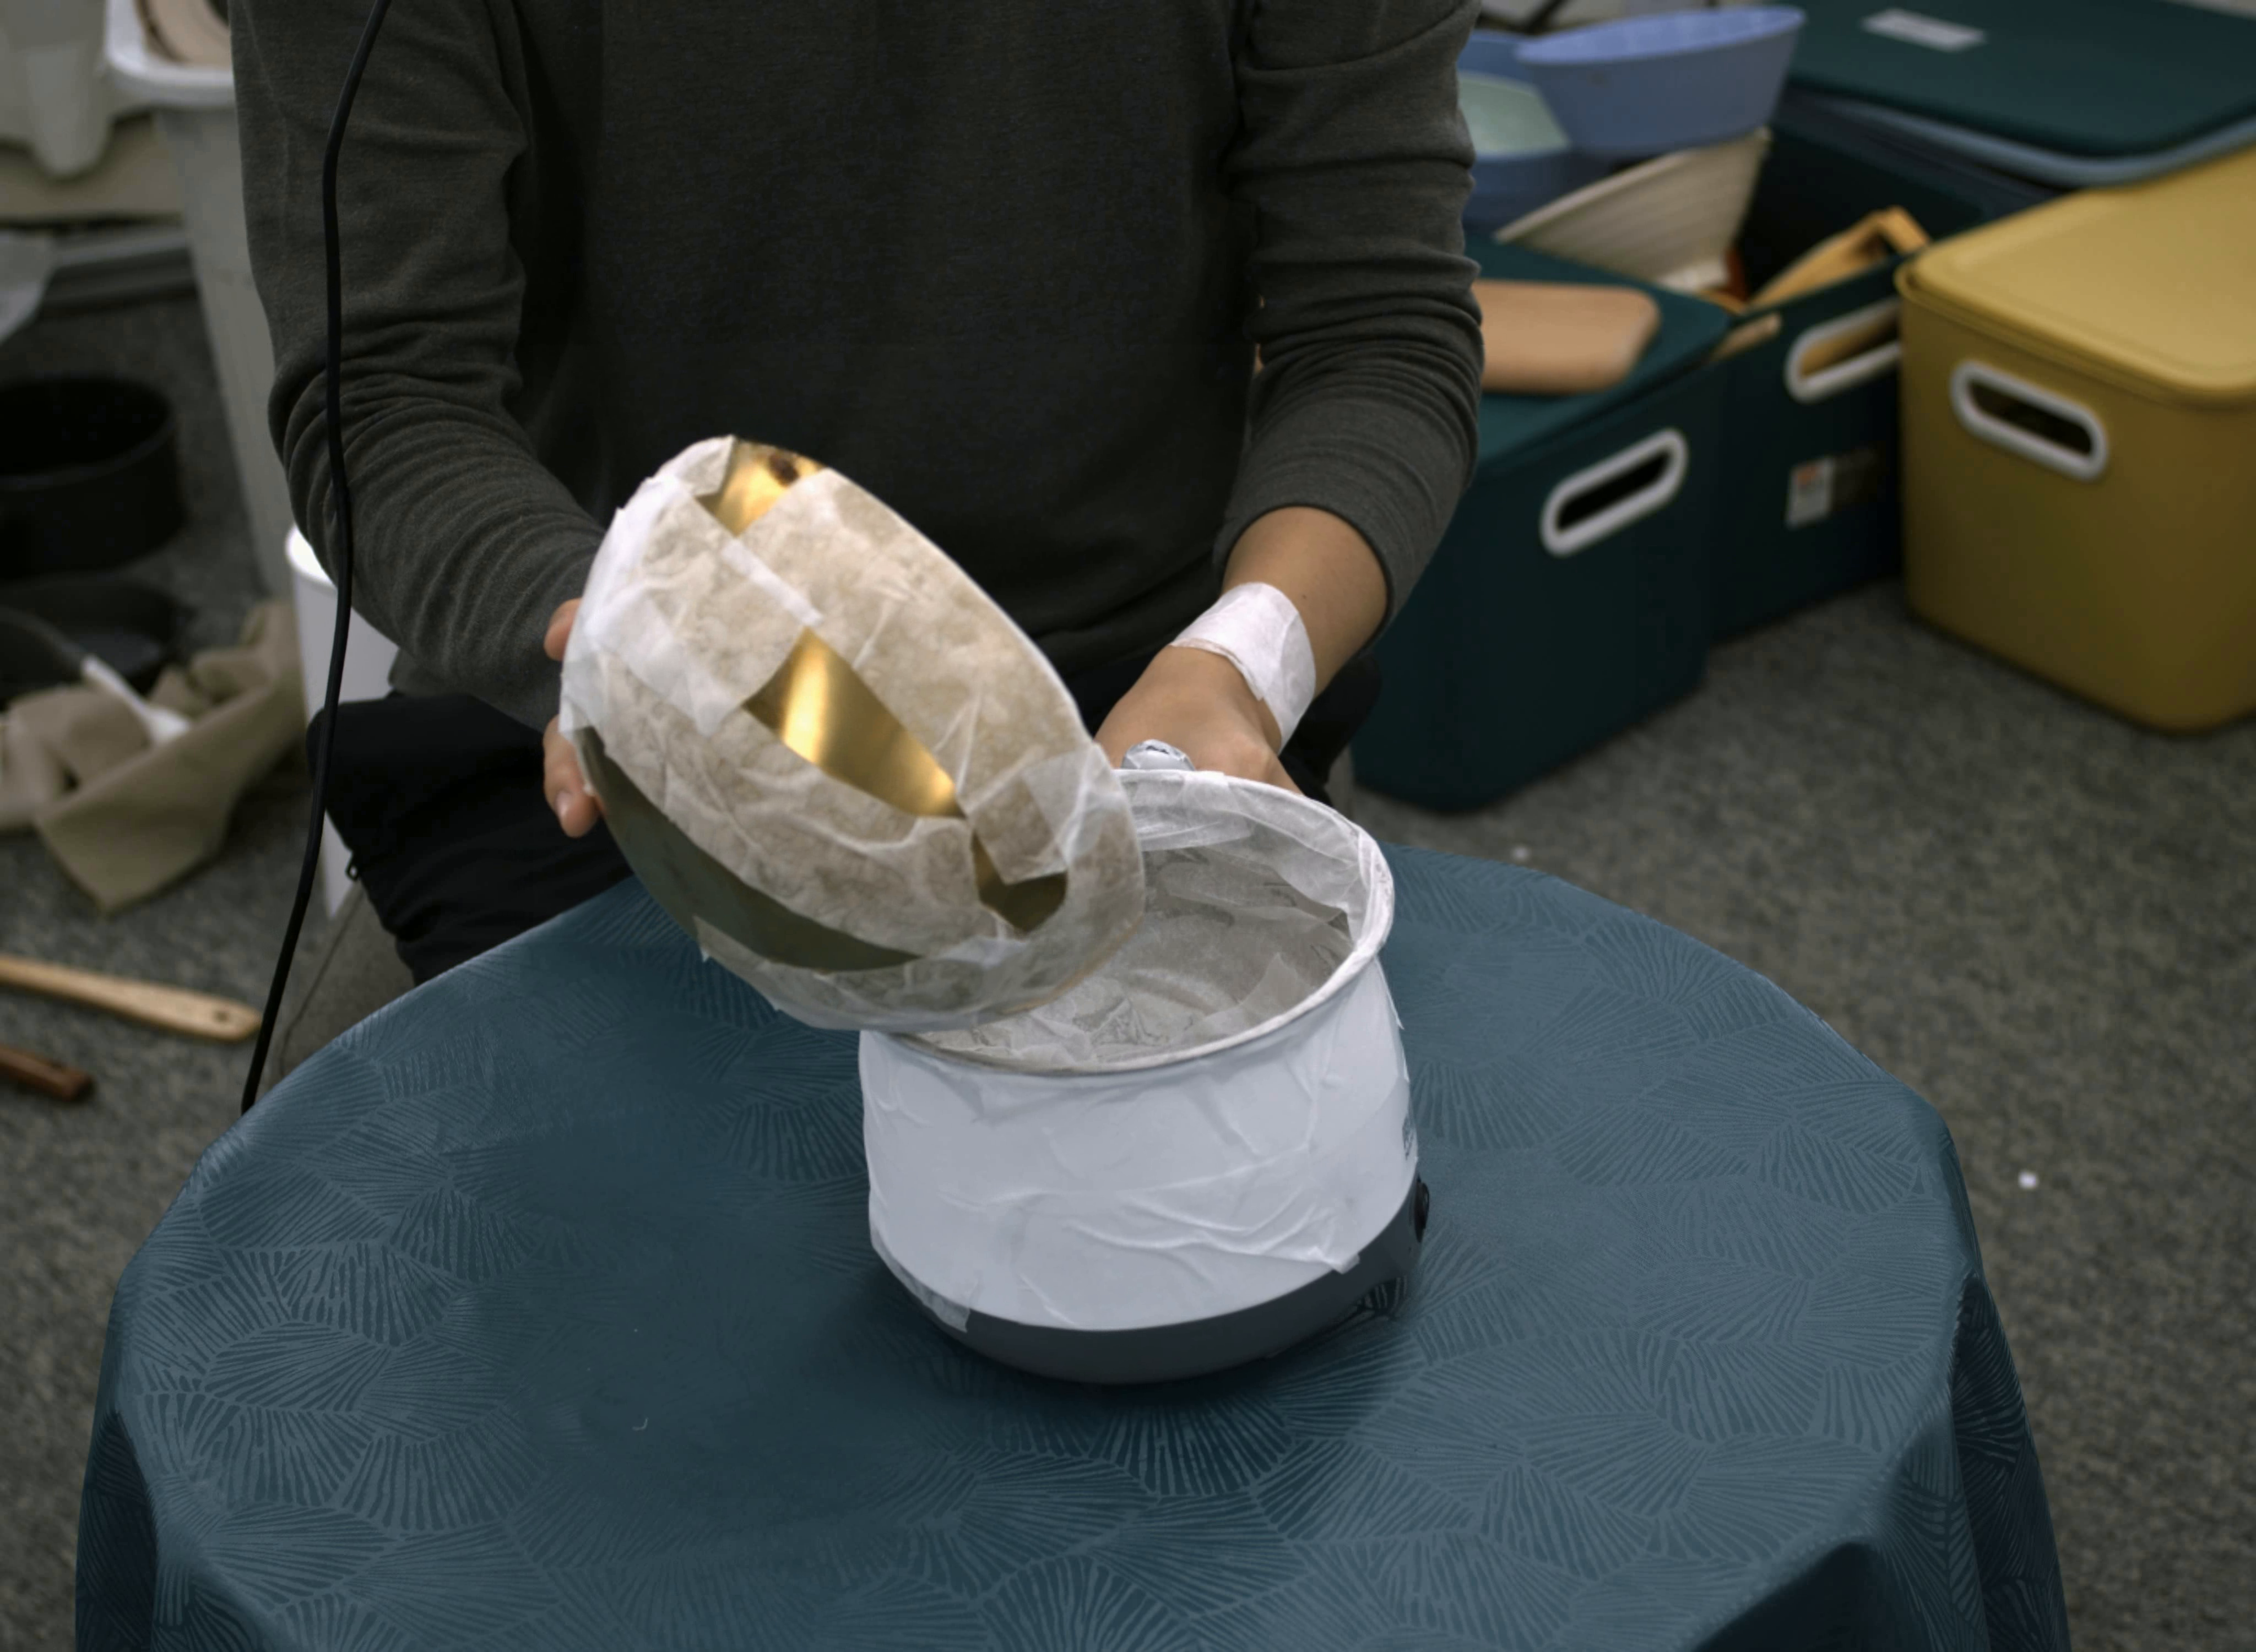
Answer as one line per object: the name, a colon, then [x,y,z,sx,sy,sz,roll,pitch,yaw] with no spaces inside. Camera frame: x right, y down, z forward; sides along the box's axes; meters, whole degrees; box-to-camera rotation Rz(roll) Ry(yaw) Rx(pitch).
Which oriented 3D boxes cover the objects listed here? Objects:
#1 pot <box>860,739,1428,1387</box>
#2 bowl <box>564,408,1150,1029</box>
pot: [0.005,0.068,1.805,0.177,0.135,0.238,-2,30,8]
bowl: [-0.098,-0.011,1.667,0.214,0.212,0.096,24,57,41]
